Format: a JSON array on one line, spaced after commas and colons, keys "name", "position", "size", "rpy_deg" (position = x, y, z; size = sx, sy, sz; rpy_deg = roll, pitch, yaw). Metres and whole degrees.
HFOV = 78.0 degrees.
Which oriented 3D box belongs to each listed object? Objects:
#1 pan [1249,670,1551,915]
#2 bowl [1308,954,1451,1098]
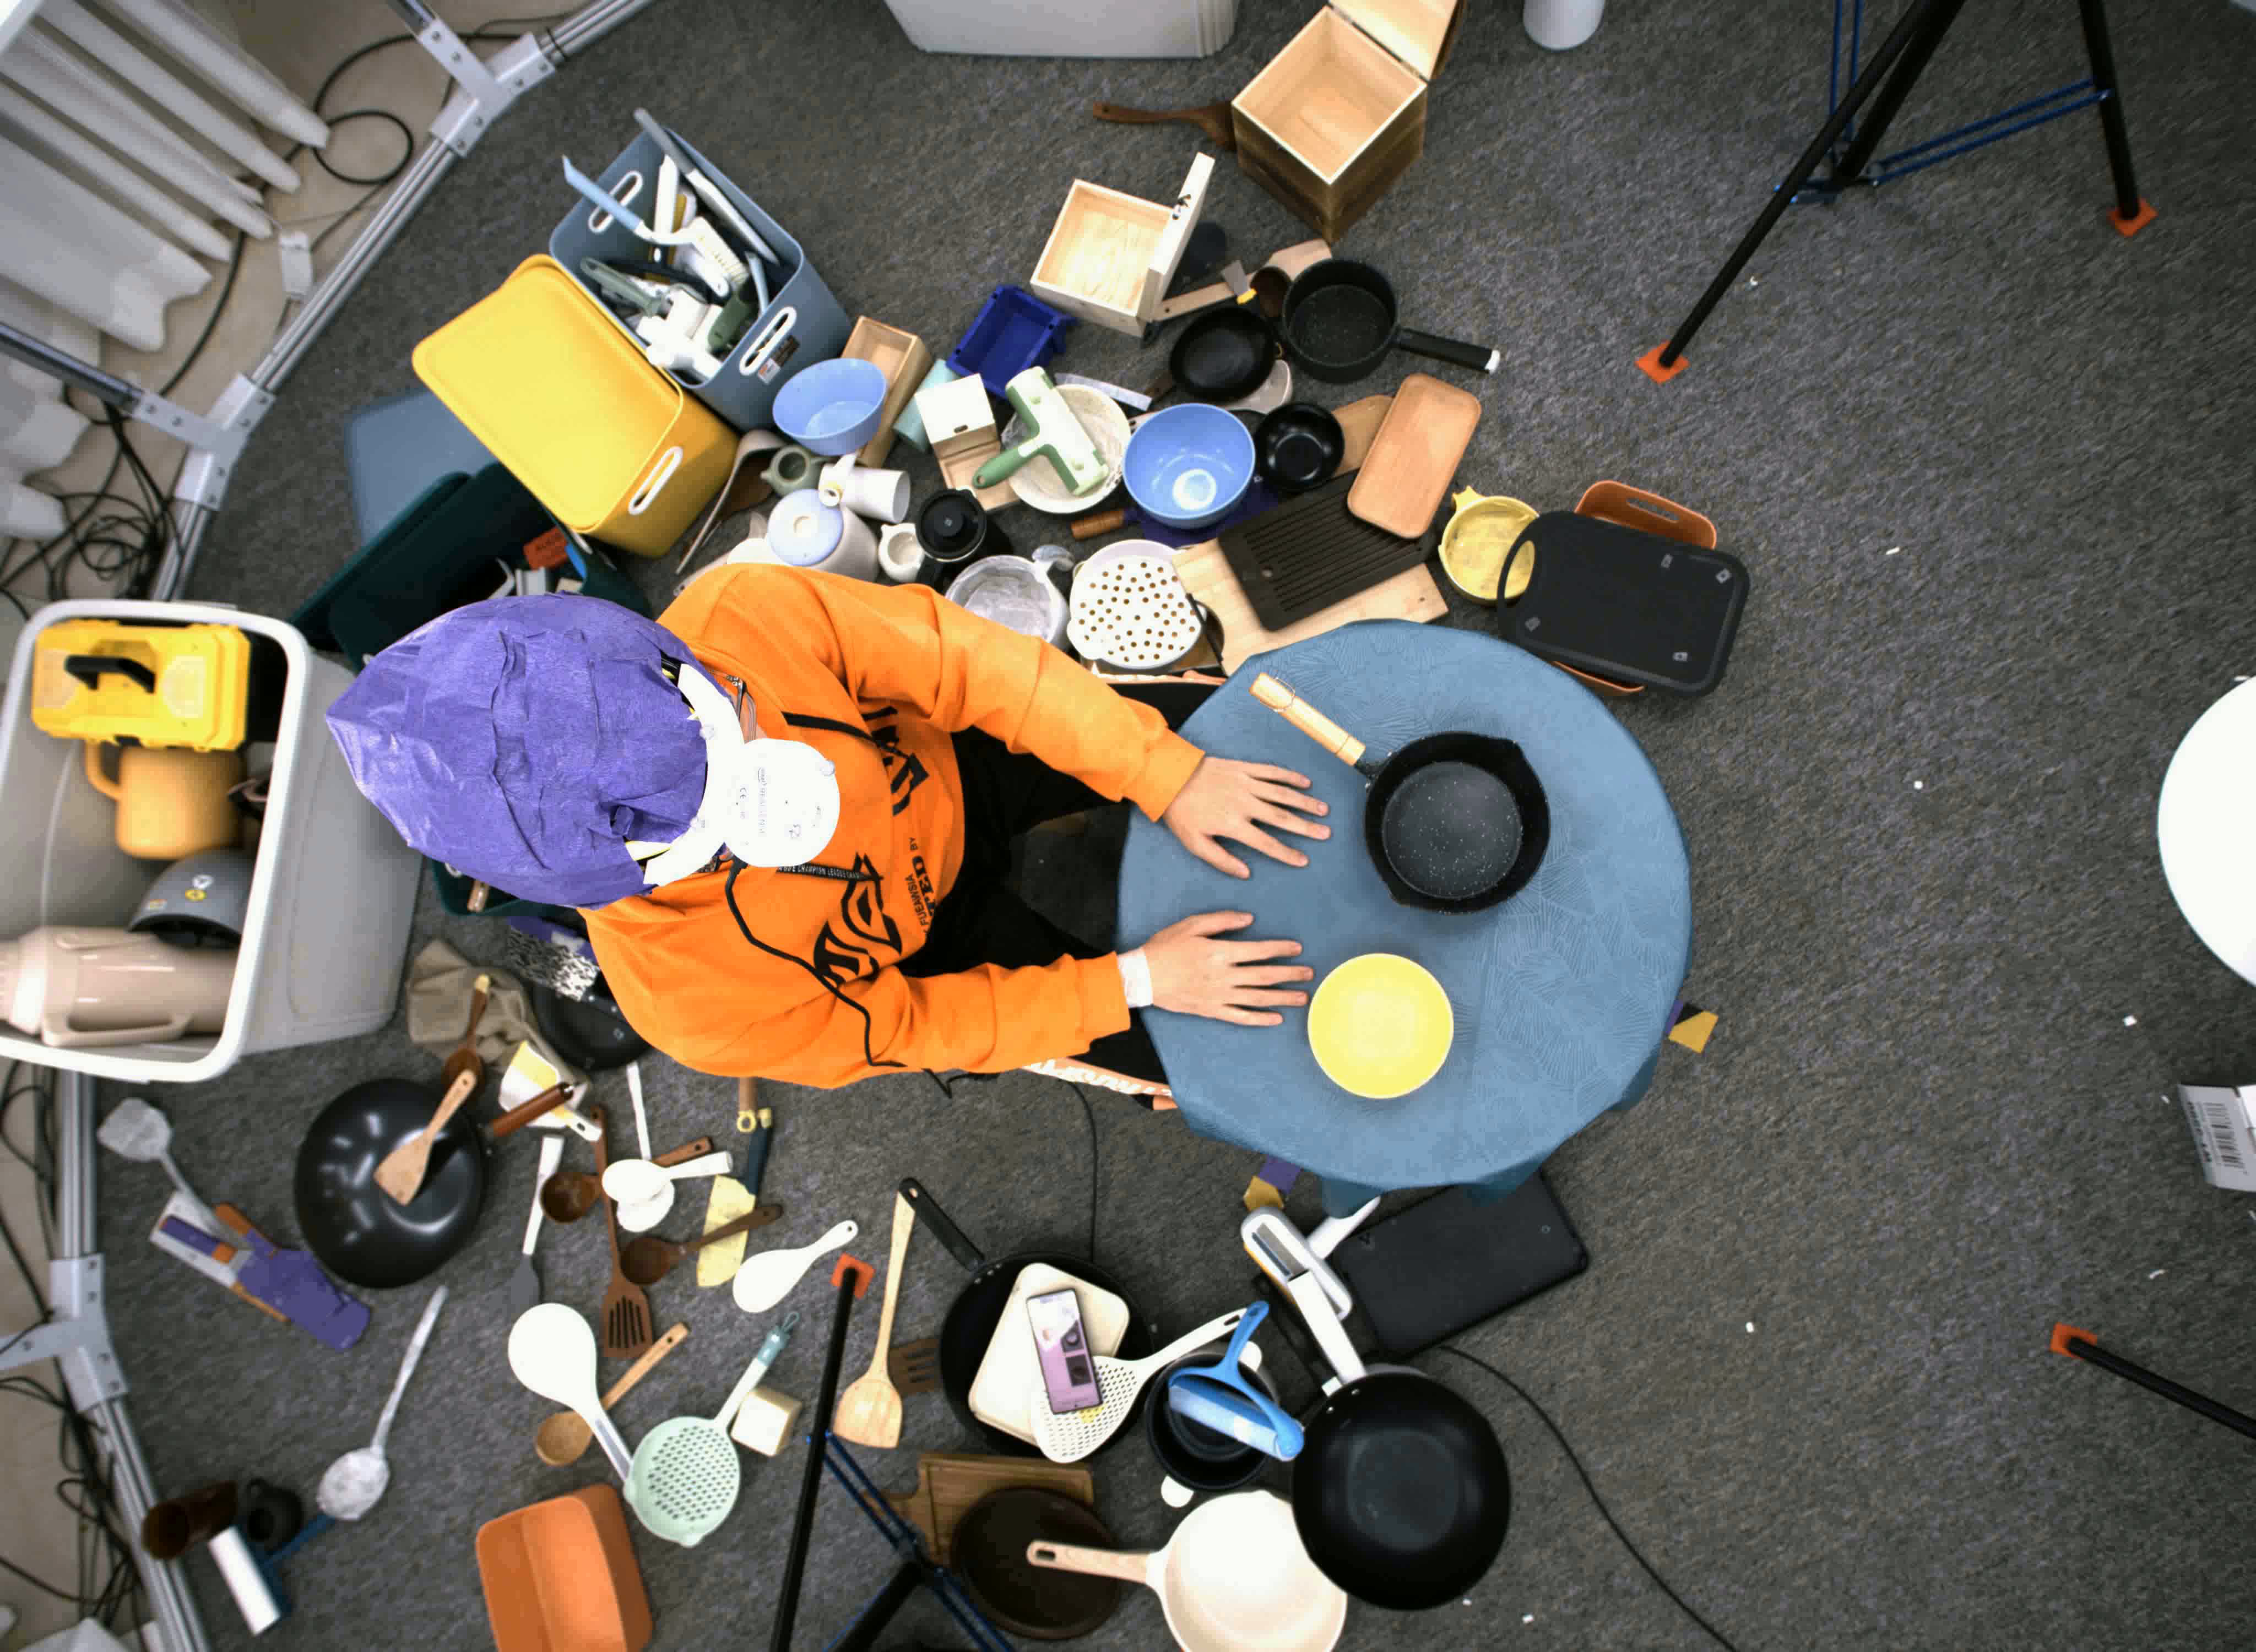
[{"name": "pan", "position": [0.268, -0.047, 1.412], "size": [0.342, 0.108, 0.208], "rpy_deg": [35, 94, 9]}, {"name": "bowl", "position": [0.258, 0.204, 1.425], "size": [0.146, 0.060, 0.144], "rpy_deg": [-1, 85, 10]}]
